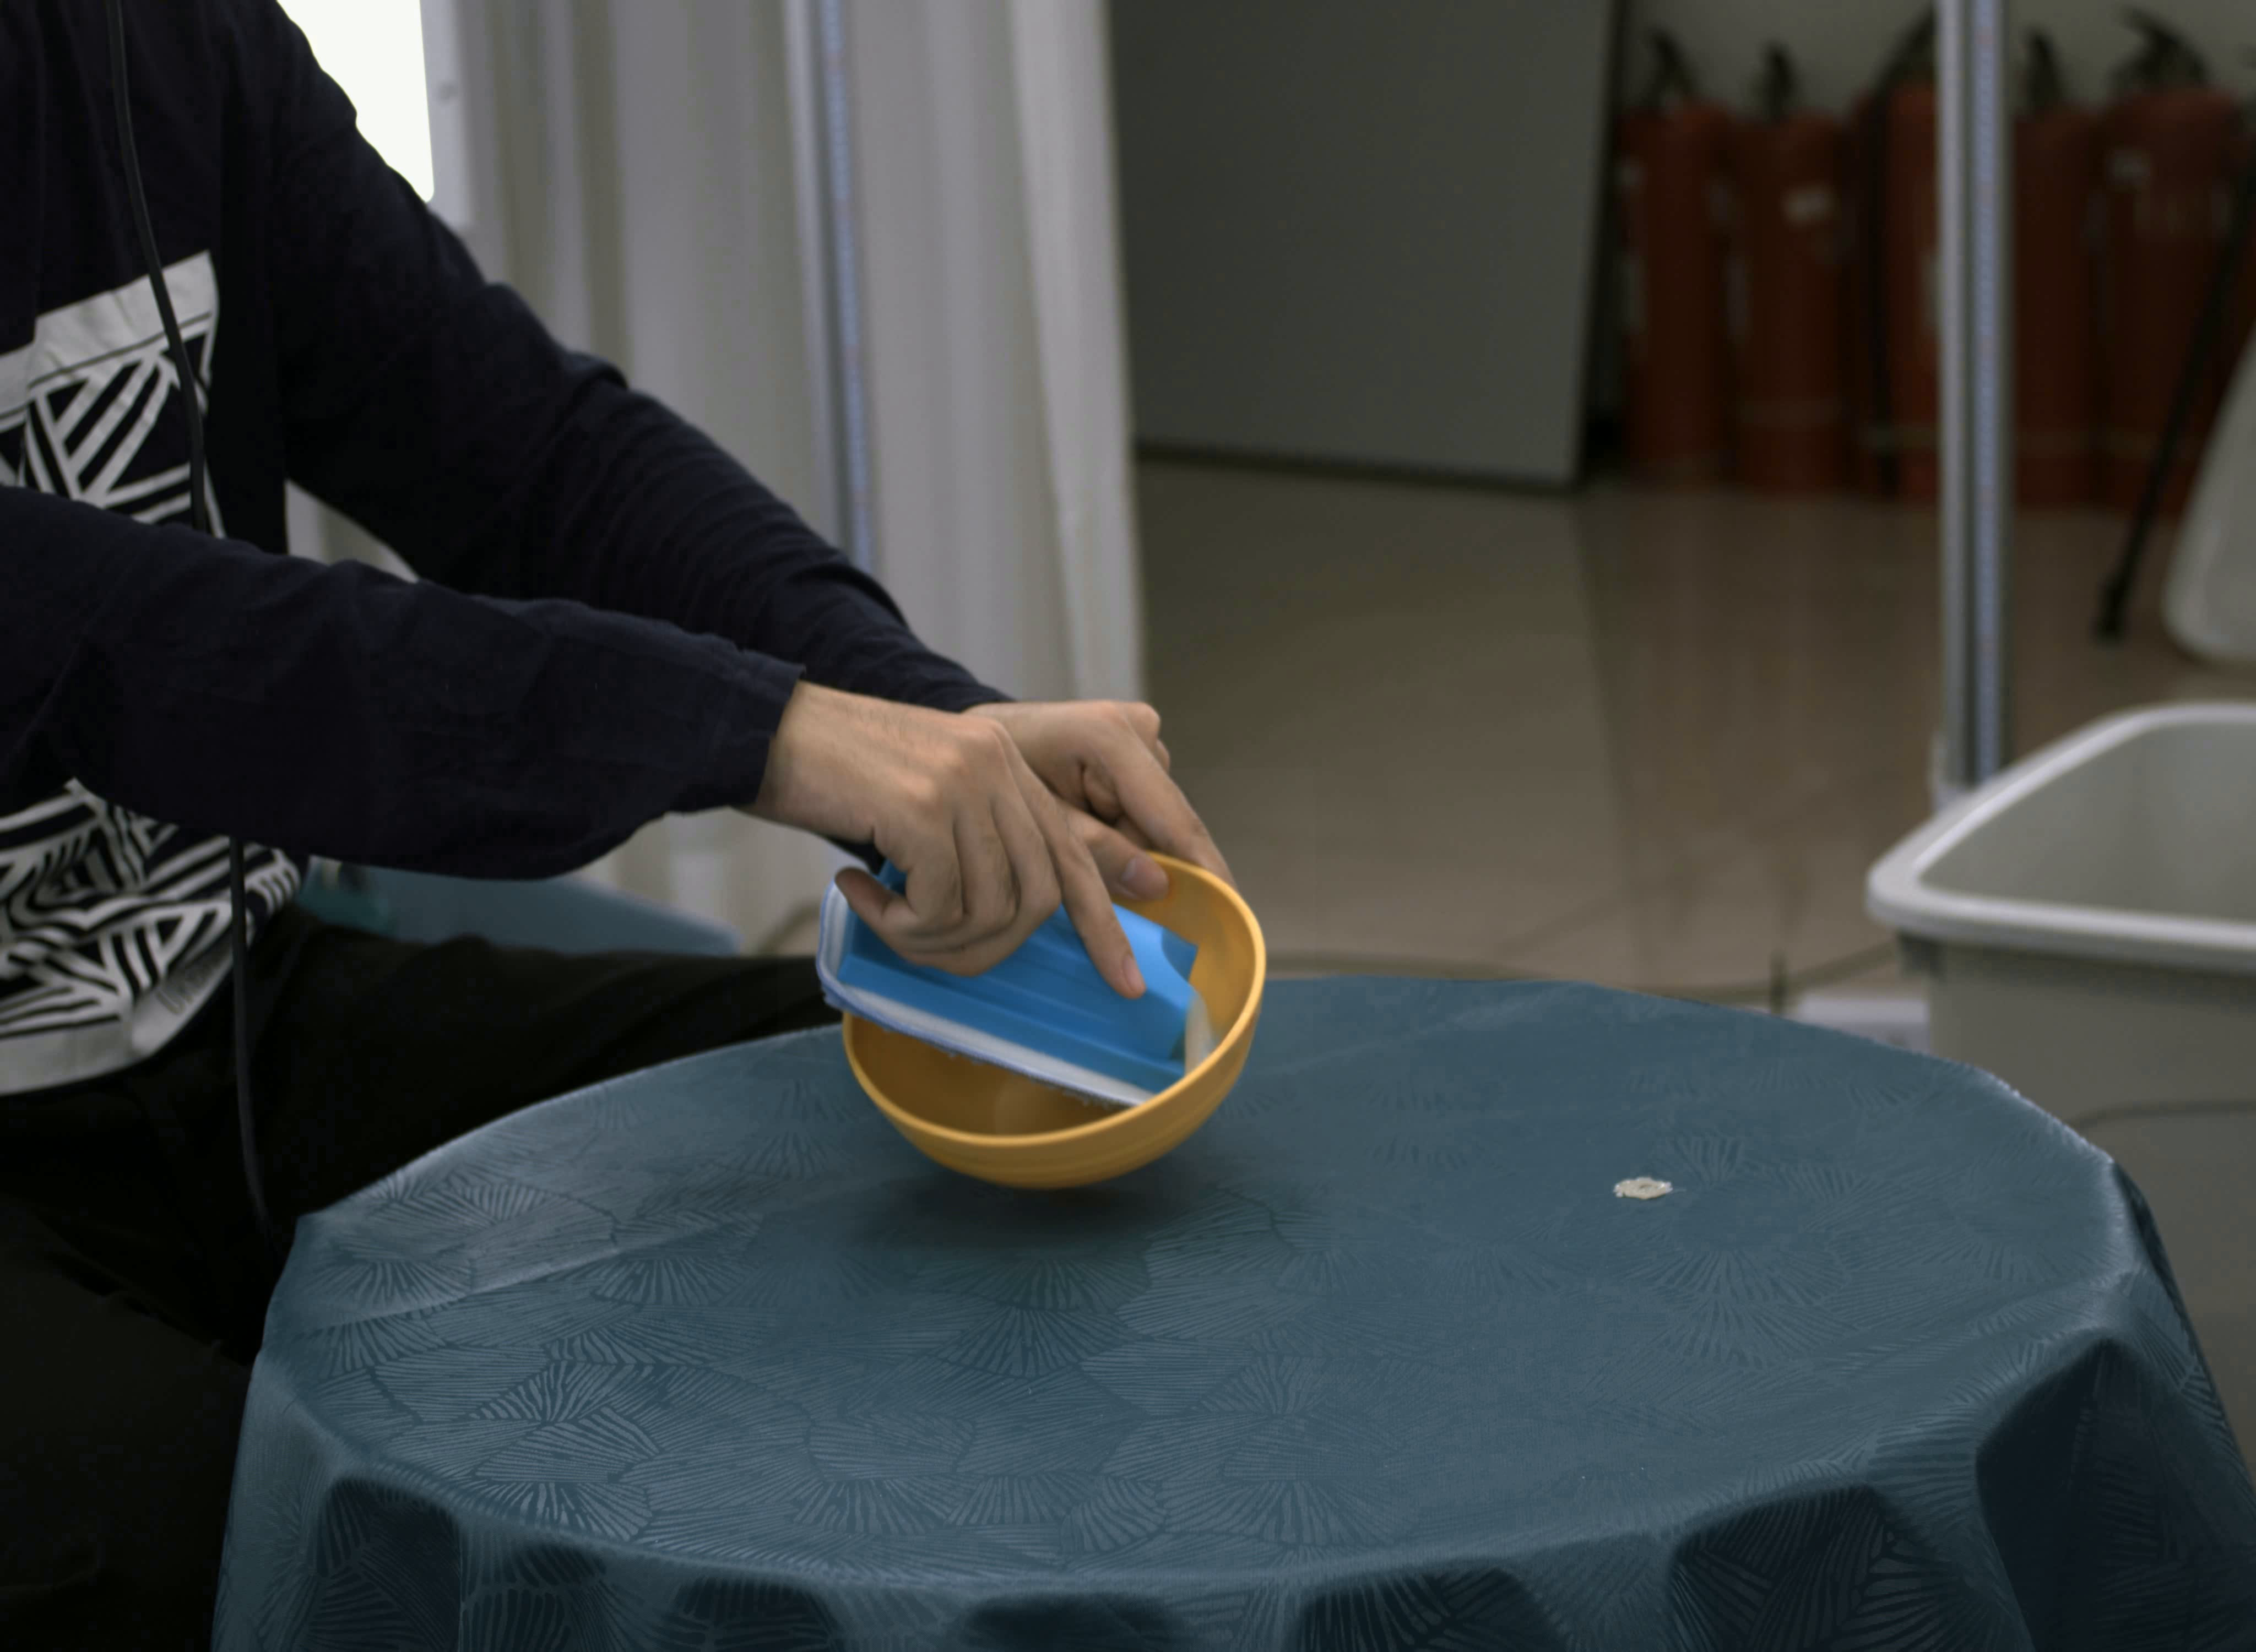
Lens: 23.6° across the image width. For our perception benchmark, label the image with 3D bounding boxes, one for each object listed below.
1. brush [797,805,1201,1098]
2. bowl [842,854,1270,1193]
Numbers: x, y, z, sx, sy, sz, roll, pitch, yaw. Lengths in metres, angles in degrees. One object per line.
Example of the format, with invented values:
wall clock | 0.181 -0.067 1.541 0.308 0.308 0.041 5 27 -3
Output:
brush | -0.036 0.038 1.766 0.142 0.056 0.084 22 23 -6
bowl | -0.019 0.077 1.789 0.144 0.060 0.146 -9 36 6
